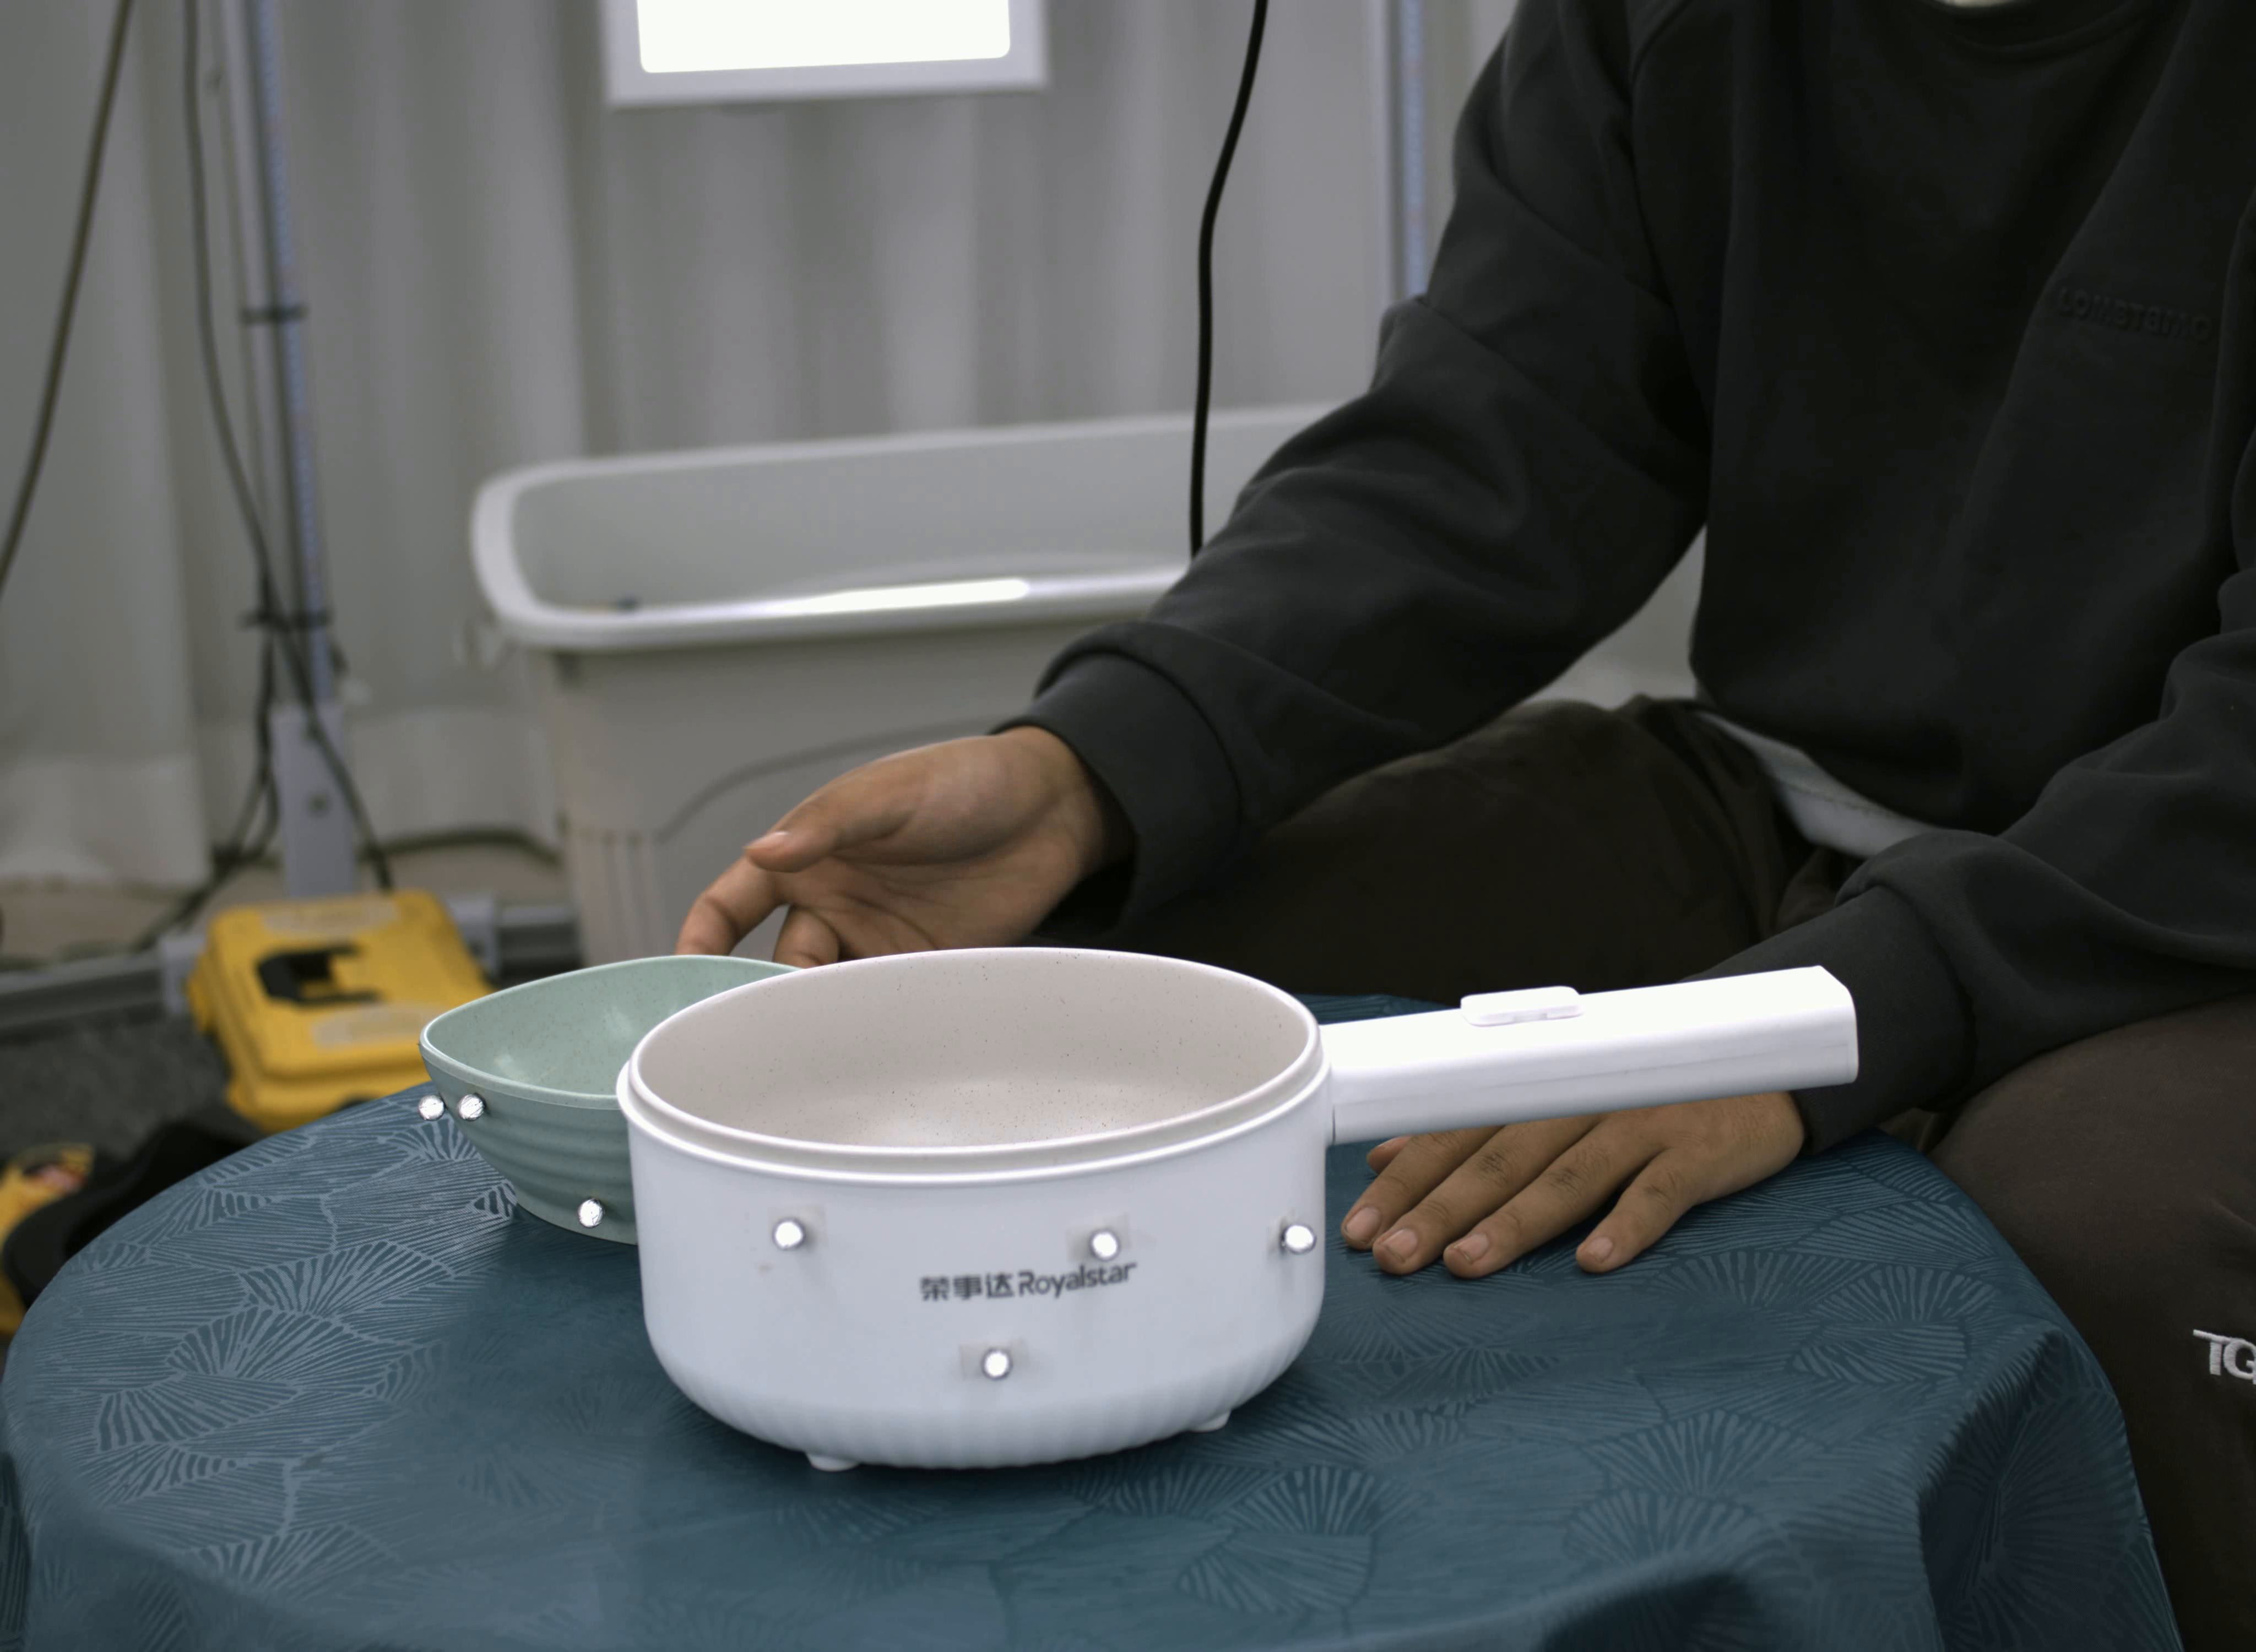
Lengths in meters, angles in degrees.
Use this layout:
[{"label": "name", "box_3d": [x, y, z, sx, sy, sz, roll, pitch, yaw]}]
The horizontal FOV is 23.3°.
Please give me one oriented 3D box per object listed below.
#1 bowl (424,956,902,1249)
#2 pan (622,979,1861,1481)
[{"label": "bowl", "box_3d": [-0.144, 0.090, 1.724, 0.151, 0.058, 0.152, -4, 15, 1]}, {"label": "pan", "box_3d": [0.034, 0.110, 1.562, 0.353, 0.102, 0.202, -4, 11, -10]}]
